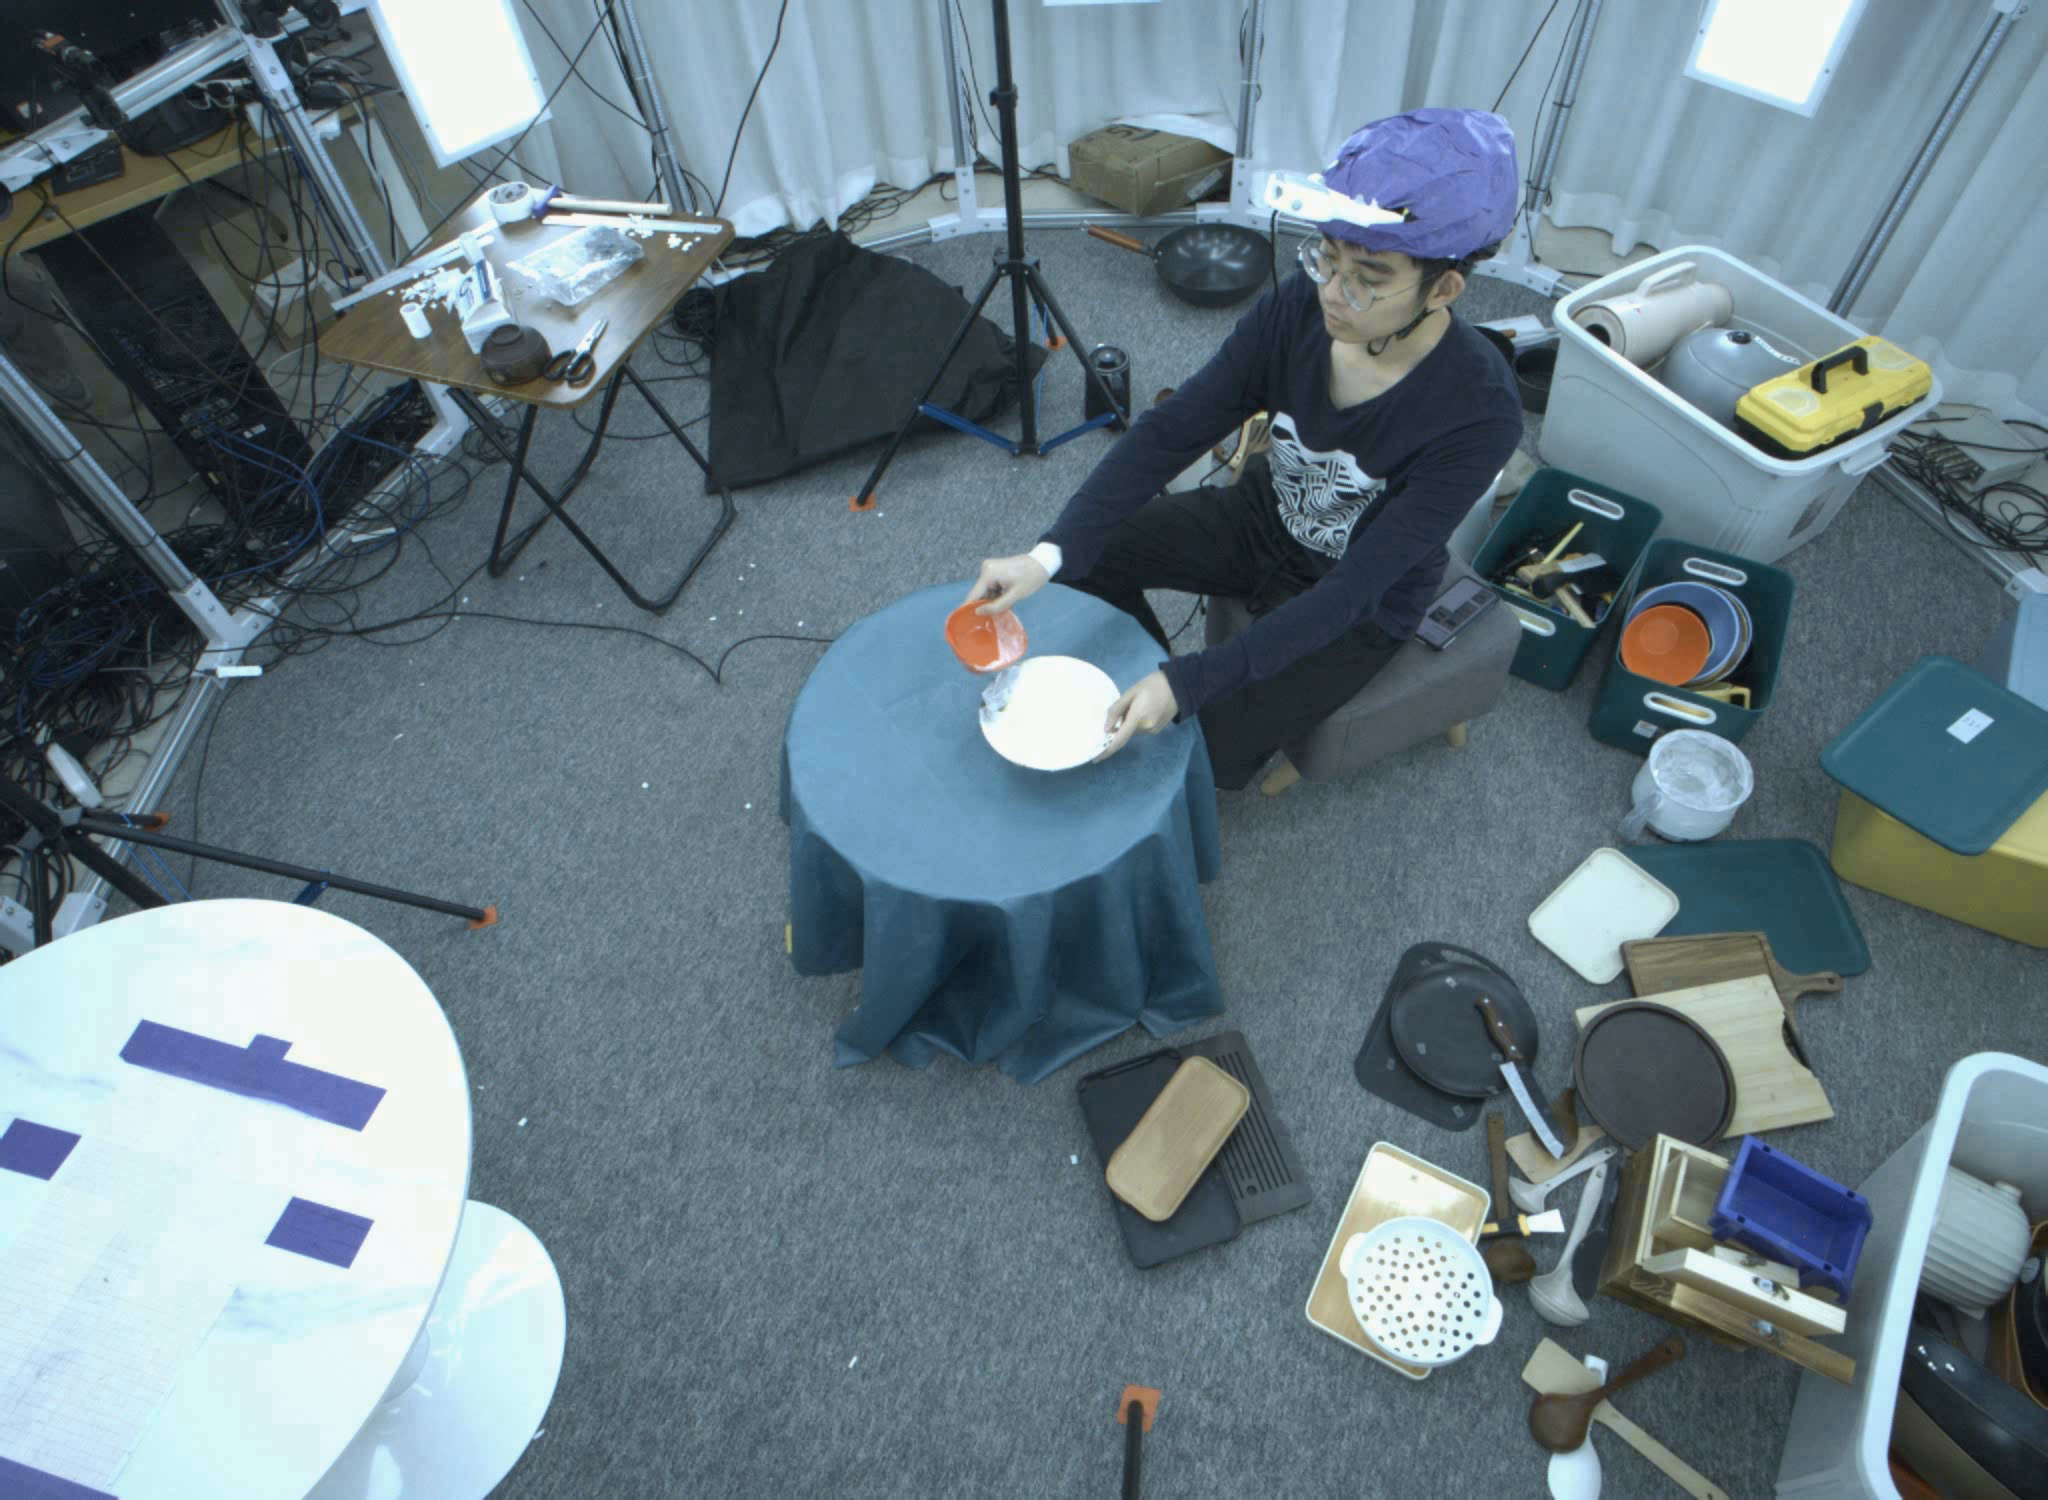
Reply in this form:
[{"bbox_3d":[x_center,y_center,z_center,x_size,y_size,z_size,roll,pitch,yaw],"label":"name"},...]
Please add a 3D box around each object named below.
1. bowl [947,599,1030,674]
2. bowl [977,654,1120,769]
[{"bbox_3d":[-0.055,-0.152,1.738,0.120,0.051,0.118,9,61,-15],"label":"bowl"},{"bbox_3d":[0.035,-0.037,1.774,0.204,0.078,0.202,2,55,-1],"label":"bowl"}]
